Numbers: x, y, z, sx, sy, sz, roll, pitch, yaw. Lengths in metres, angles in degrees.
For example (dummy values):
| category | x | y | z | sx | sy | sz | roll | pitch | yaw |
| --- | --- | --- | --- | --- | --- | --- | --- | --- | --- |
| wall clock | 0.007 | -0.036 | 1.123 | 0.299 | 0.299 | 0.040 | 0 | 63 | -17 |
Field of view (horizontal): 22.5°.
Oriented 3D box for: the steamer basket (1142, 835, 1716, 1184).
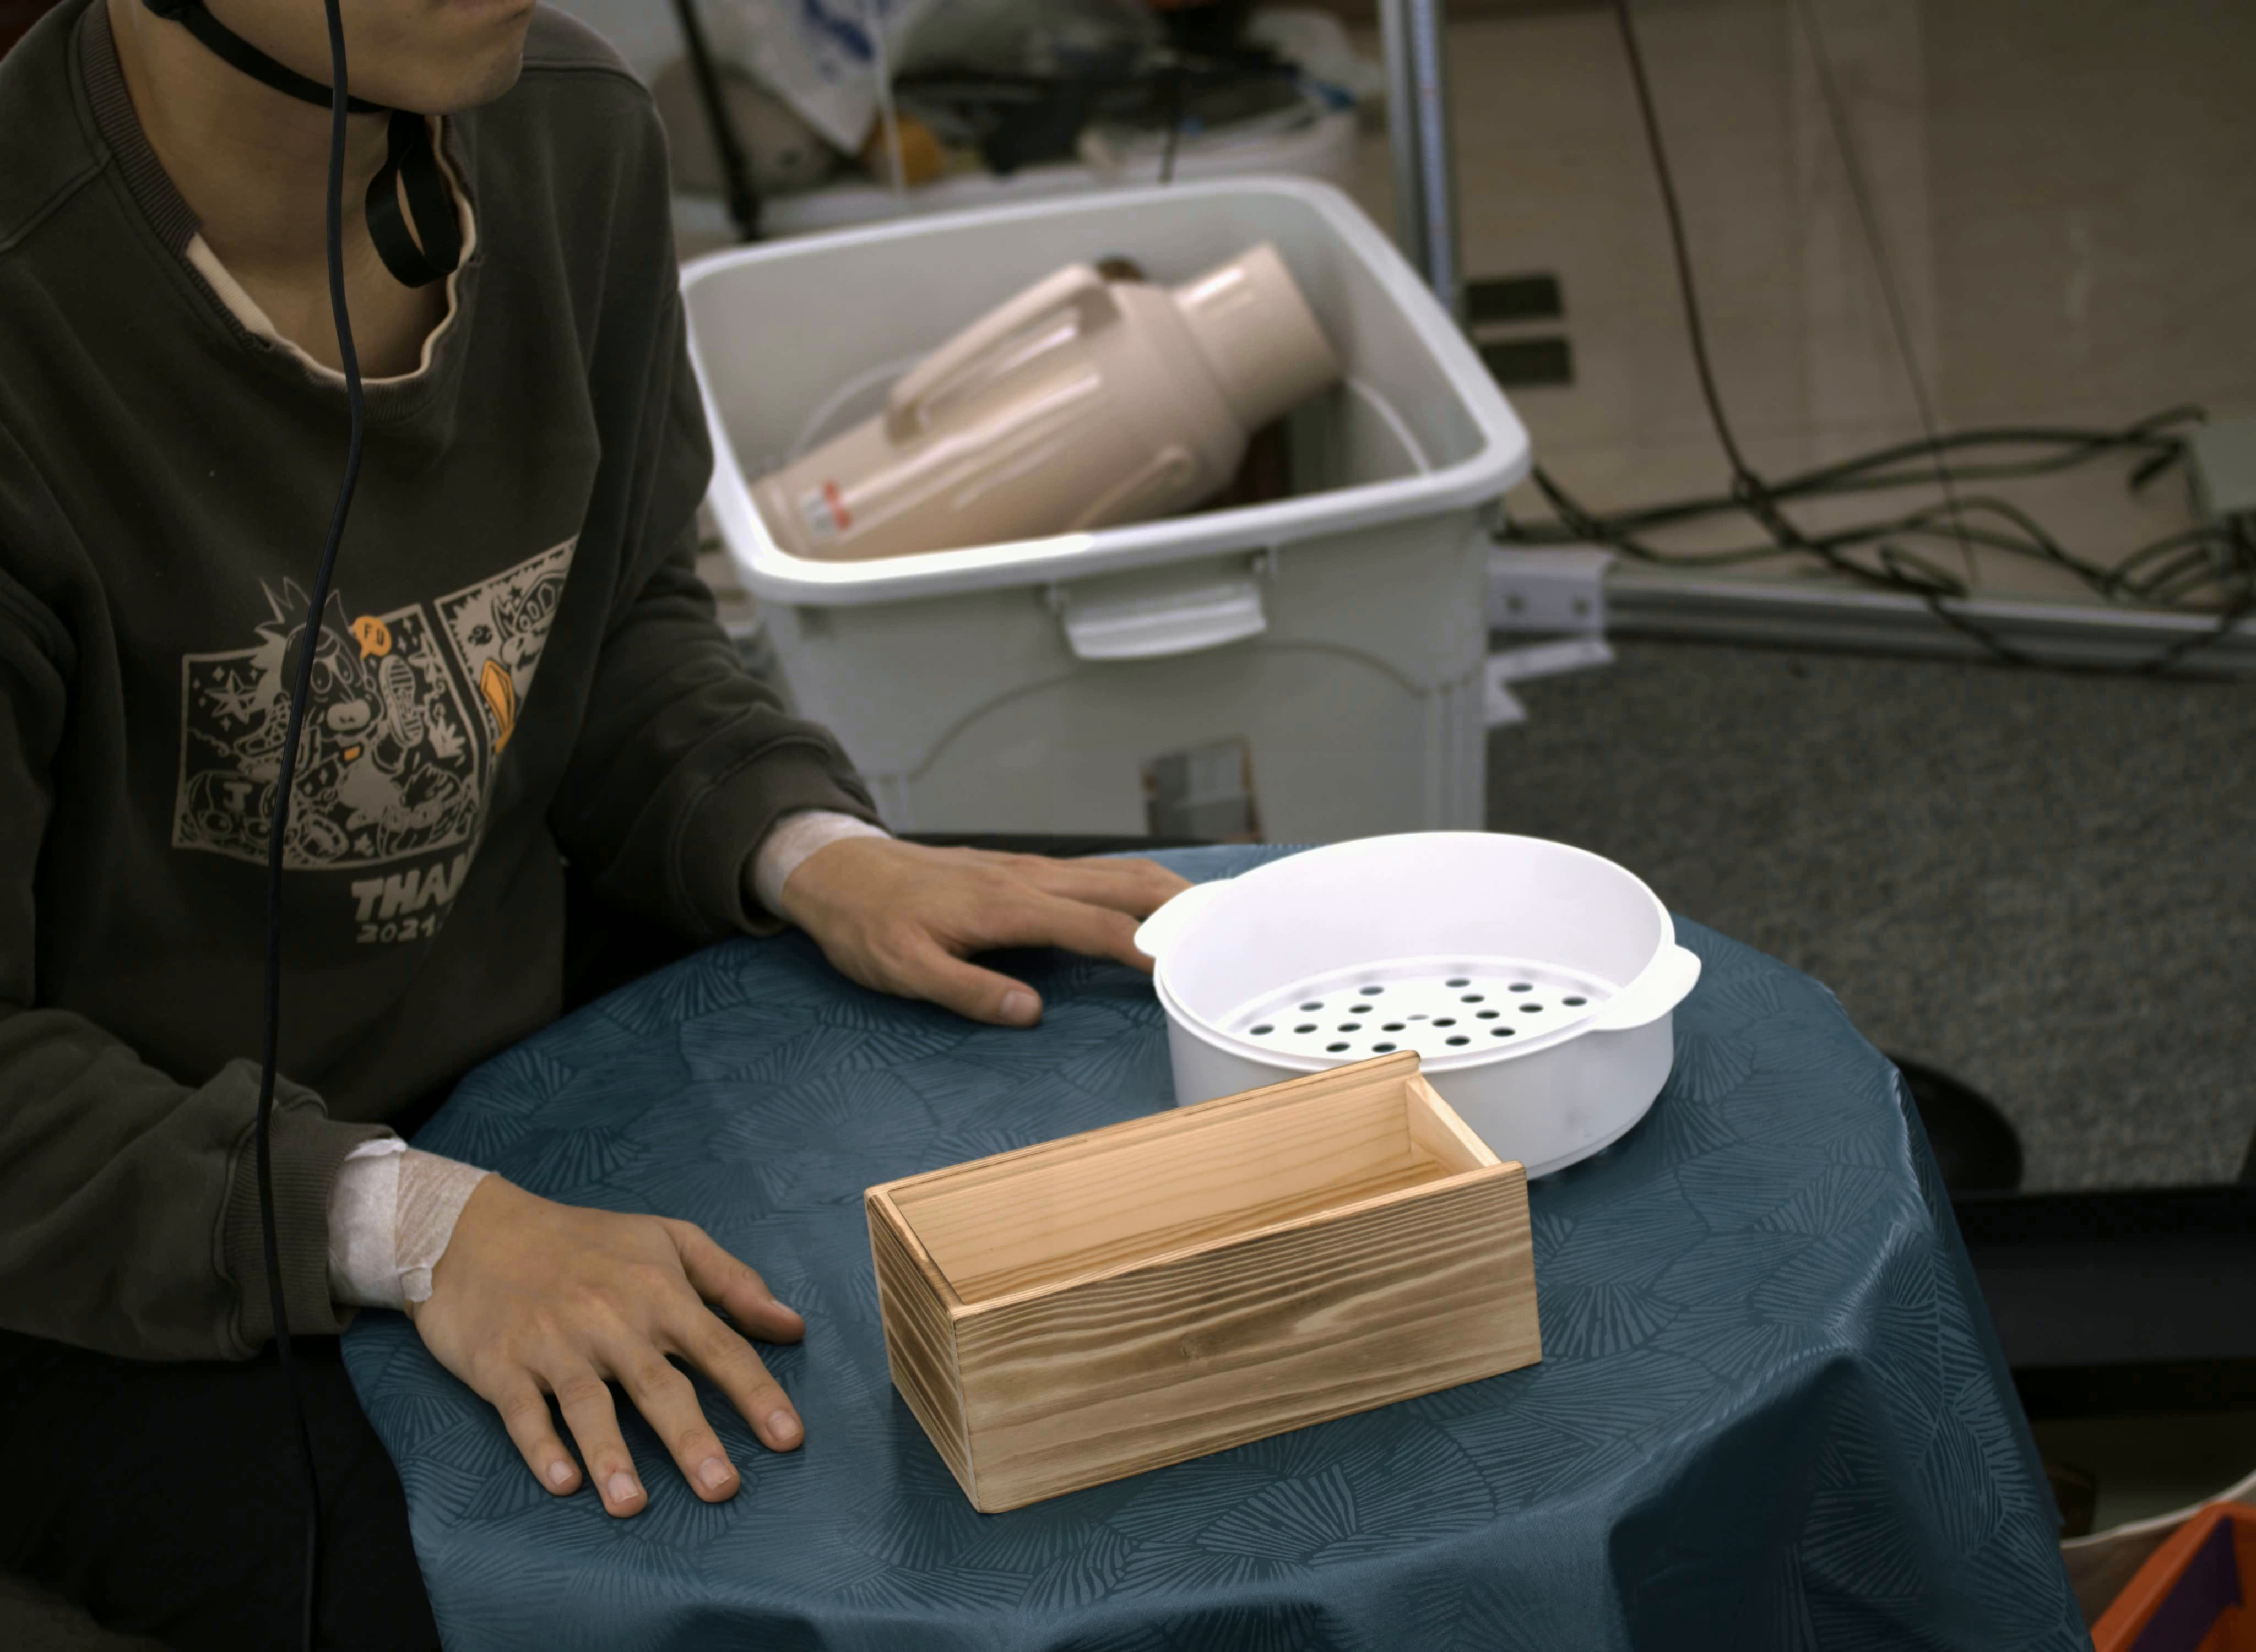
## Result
| category | x | y | z | sx | sy | sz | roll | pitch | yaw |
| --- | --- | --- | --- | --- | --- | --- | --- | --- | --- |
| steamer basket | 0.116 | 0.074 | 2.176 | 0.229 | 0.070 | 0.199 | 8 | 28 | 30 |

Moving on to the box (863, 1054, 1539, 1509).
| category | x | y | z | sx | sy | sz | roll | pitch | yaw |
| --- | --- | --- | --- | --- | --- | --- | --- | --- | --- |
| box | 0.025 | 0.158 | 2.002 | 0.211 | 0.081 | 0.106 | -14 | 26 | -15 |
